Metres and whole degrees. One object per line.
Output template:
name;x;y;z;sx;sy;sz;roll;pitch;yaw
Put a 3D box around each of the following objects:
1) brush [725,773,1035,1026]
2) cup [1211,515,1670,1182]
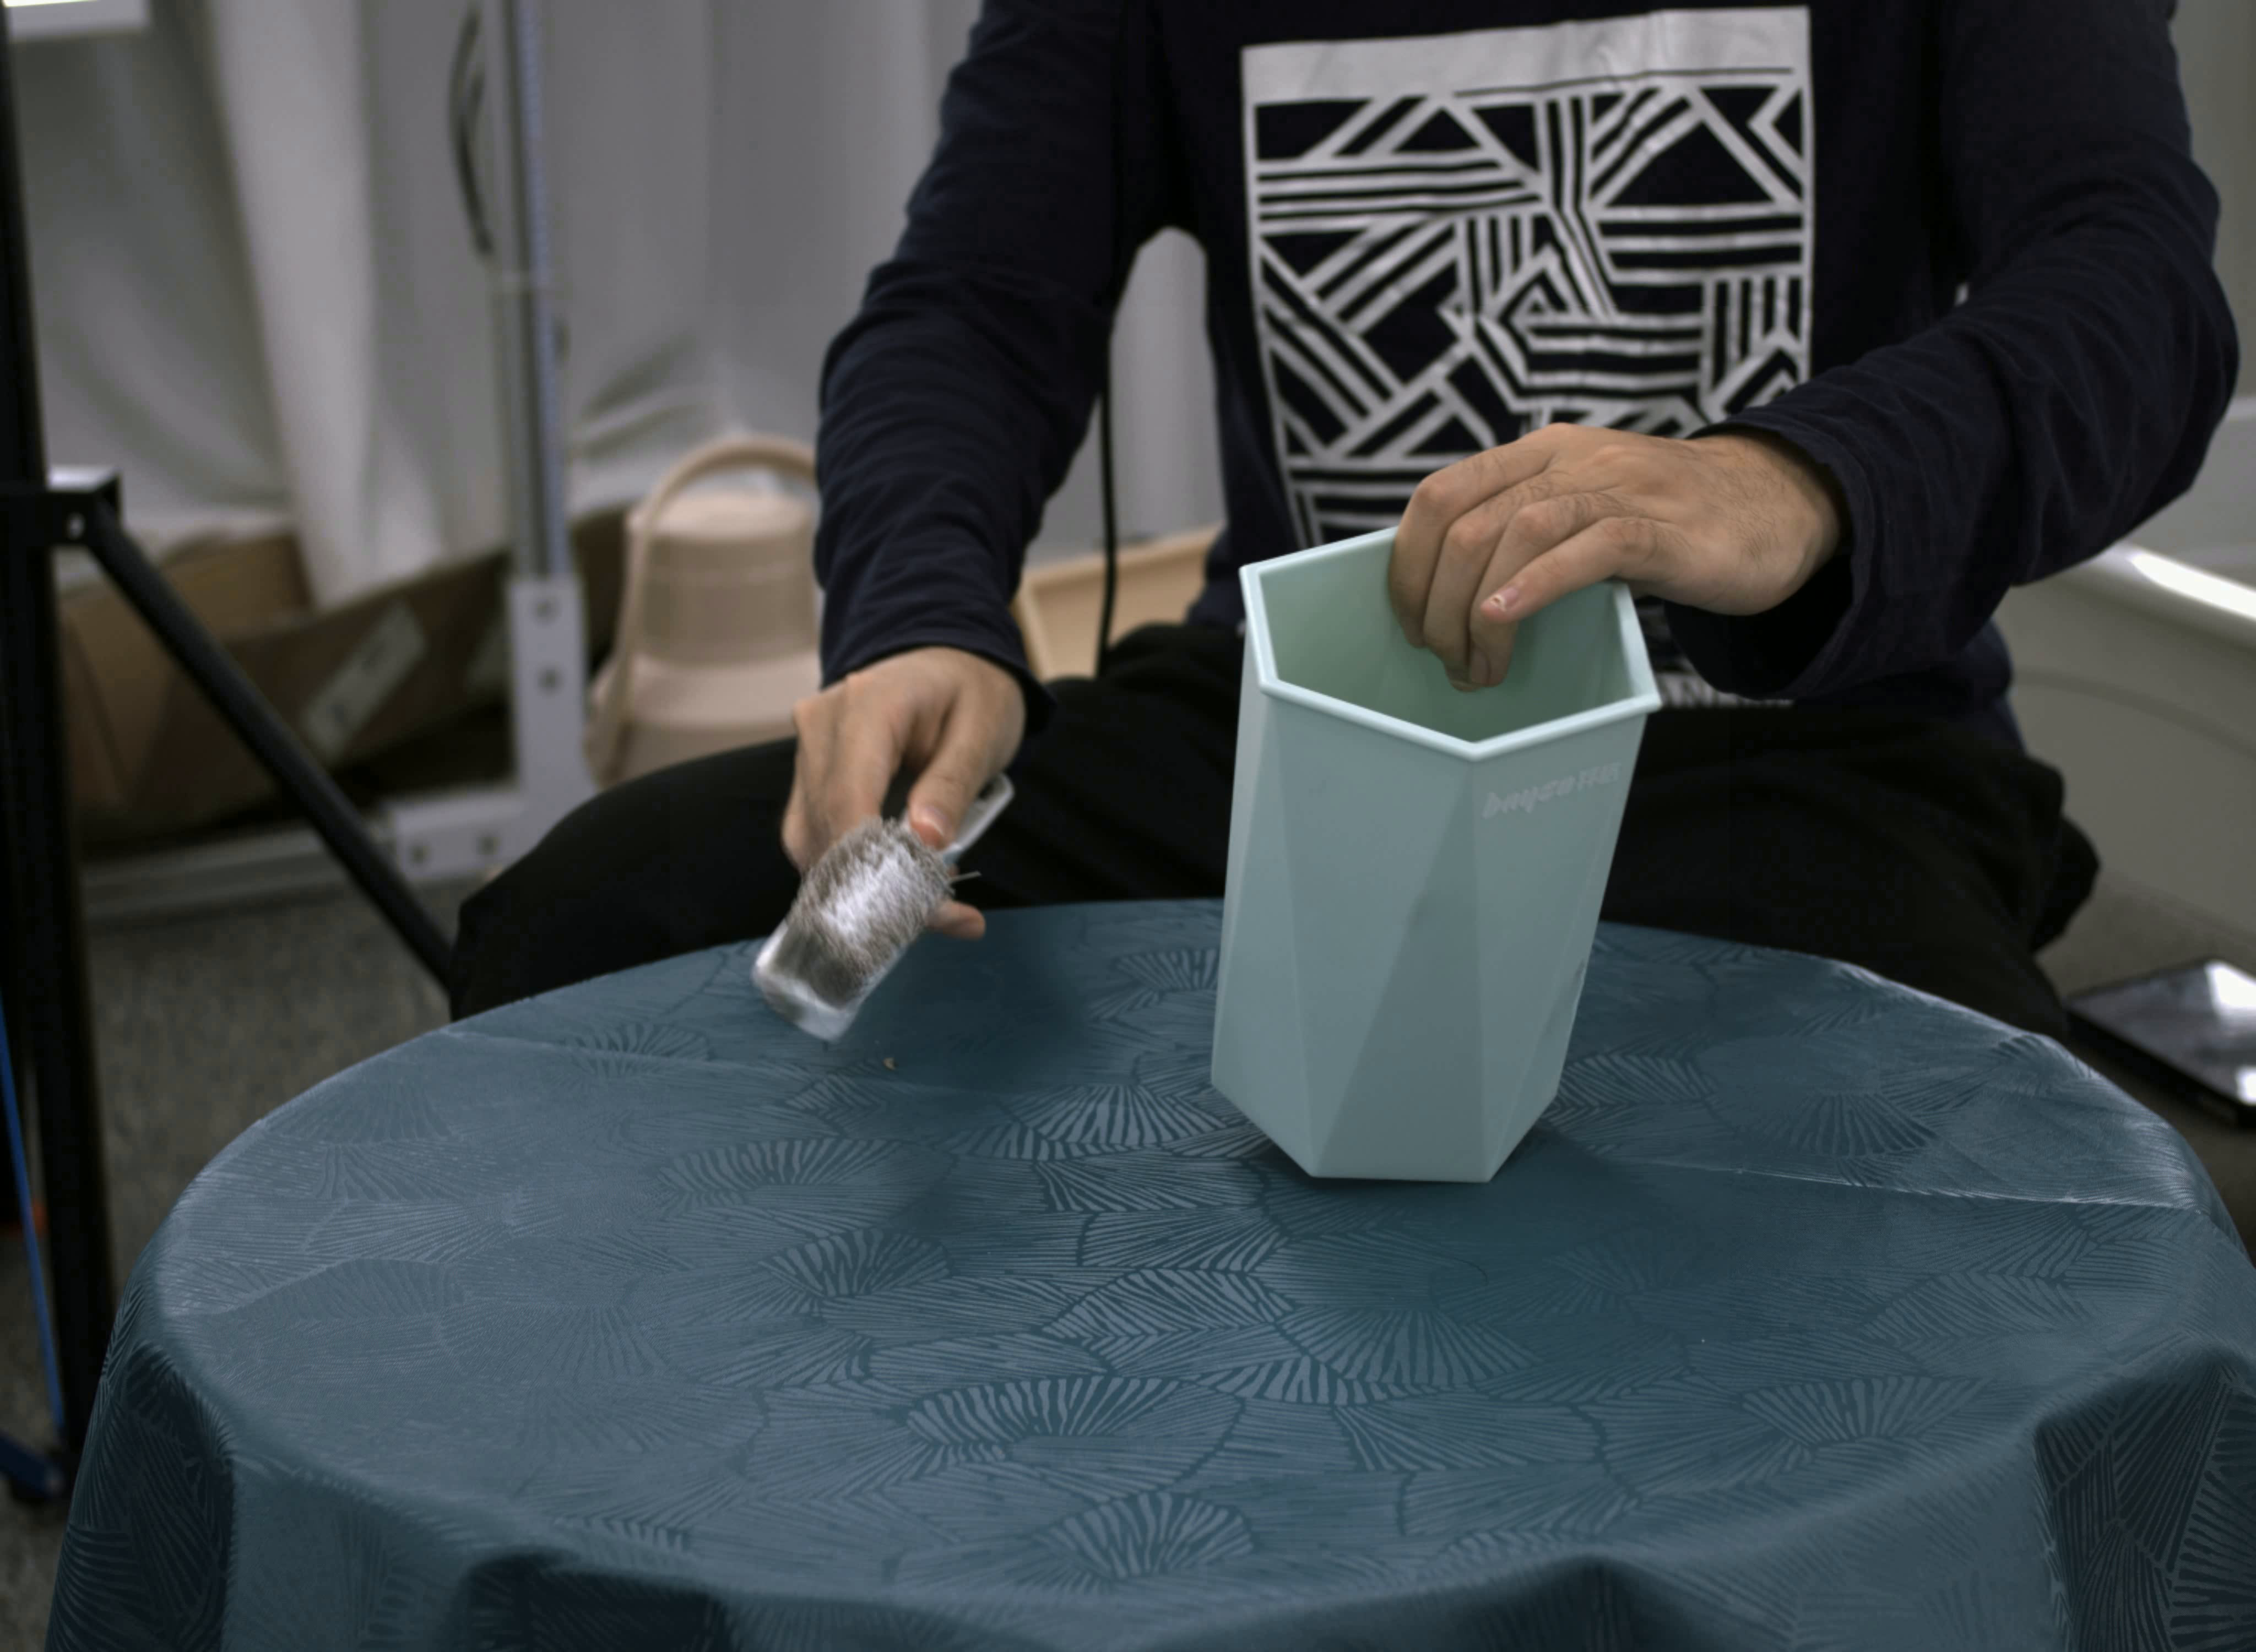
brush;-0.062;0.005;1.635;0.034;0.050;0.241;39;22;5
cup;0.086;0.012;1.548;0.128;0.162;0.118;-17;38;-32
